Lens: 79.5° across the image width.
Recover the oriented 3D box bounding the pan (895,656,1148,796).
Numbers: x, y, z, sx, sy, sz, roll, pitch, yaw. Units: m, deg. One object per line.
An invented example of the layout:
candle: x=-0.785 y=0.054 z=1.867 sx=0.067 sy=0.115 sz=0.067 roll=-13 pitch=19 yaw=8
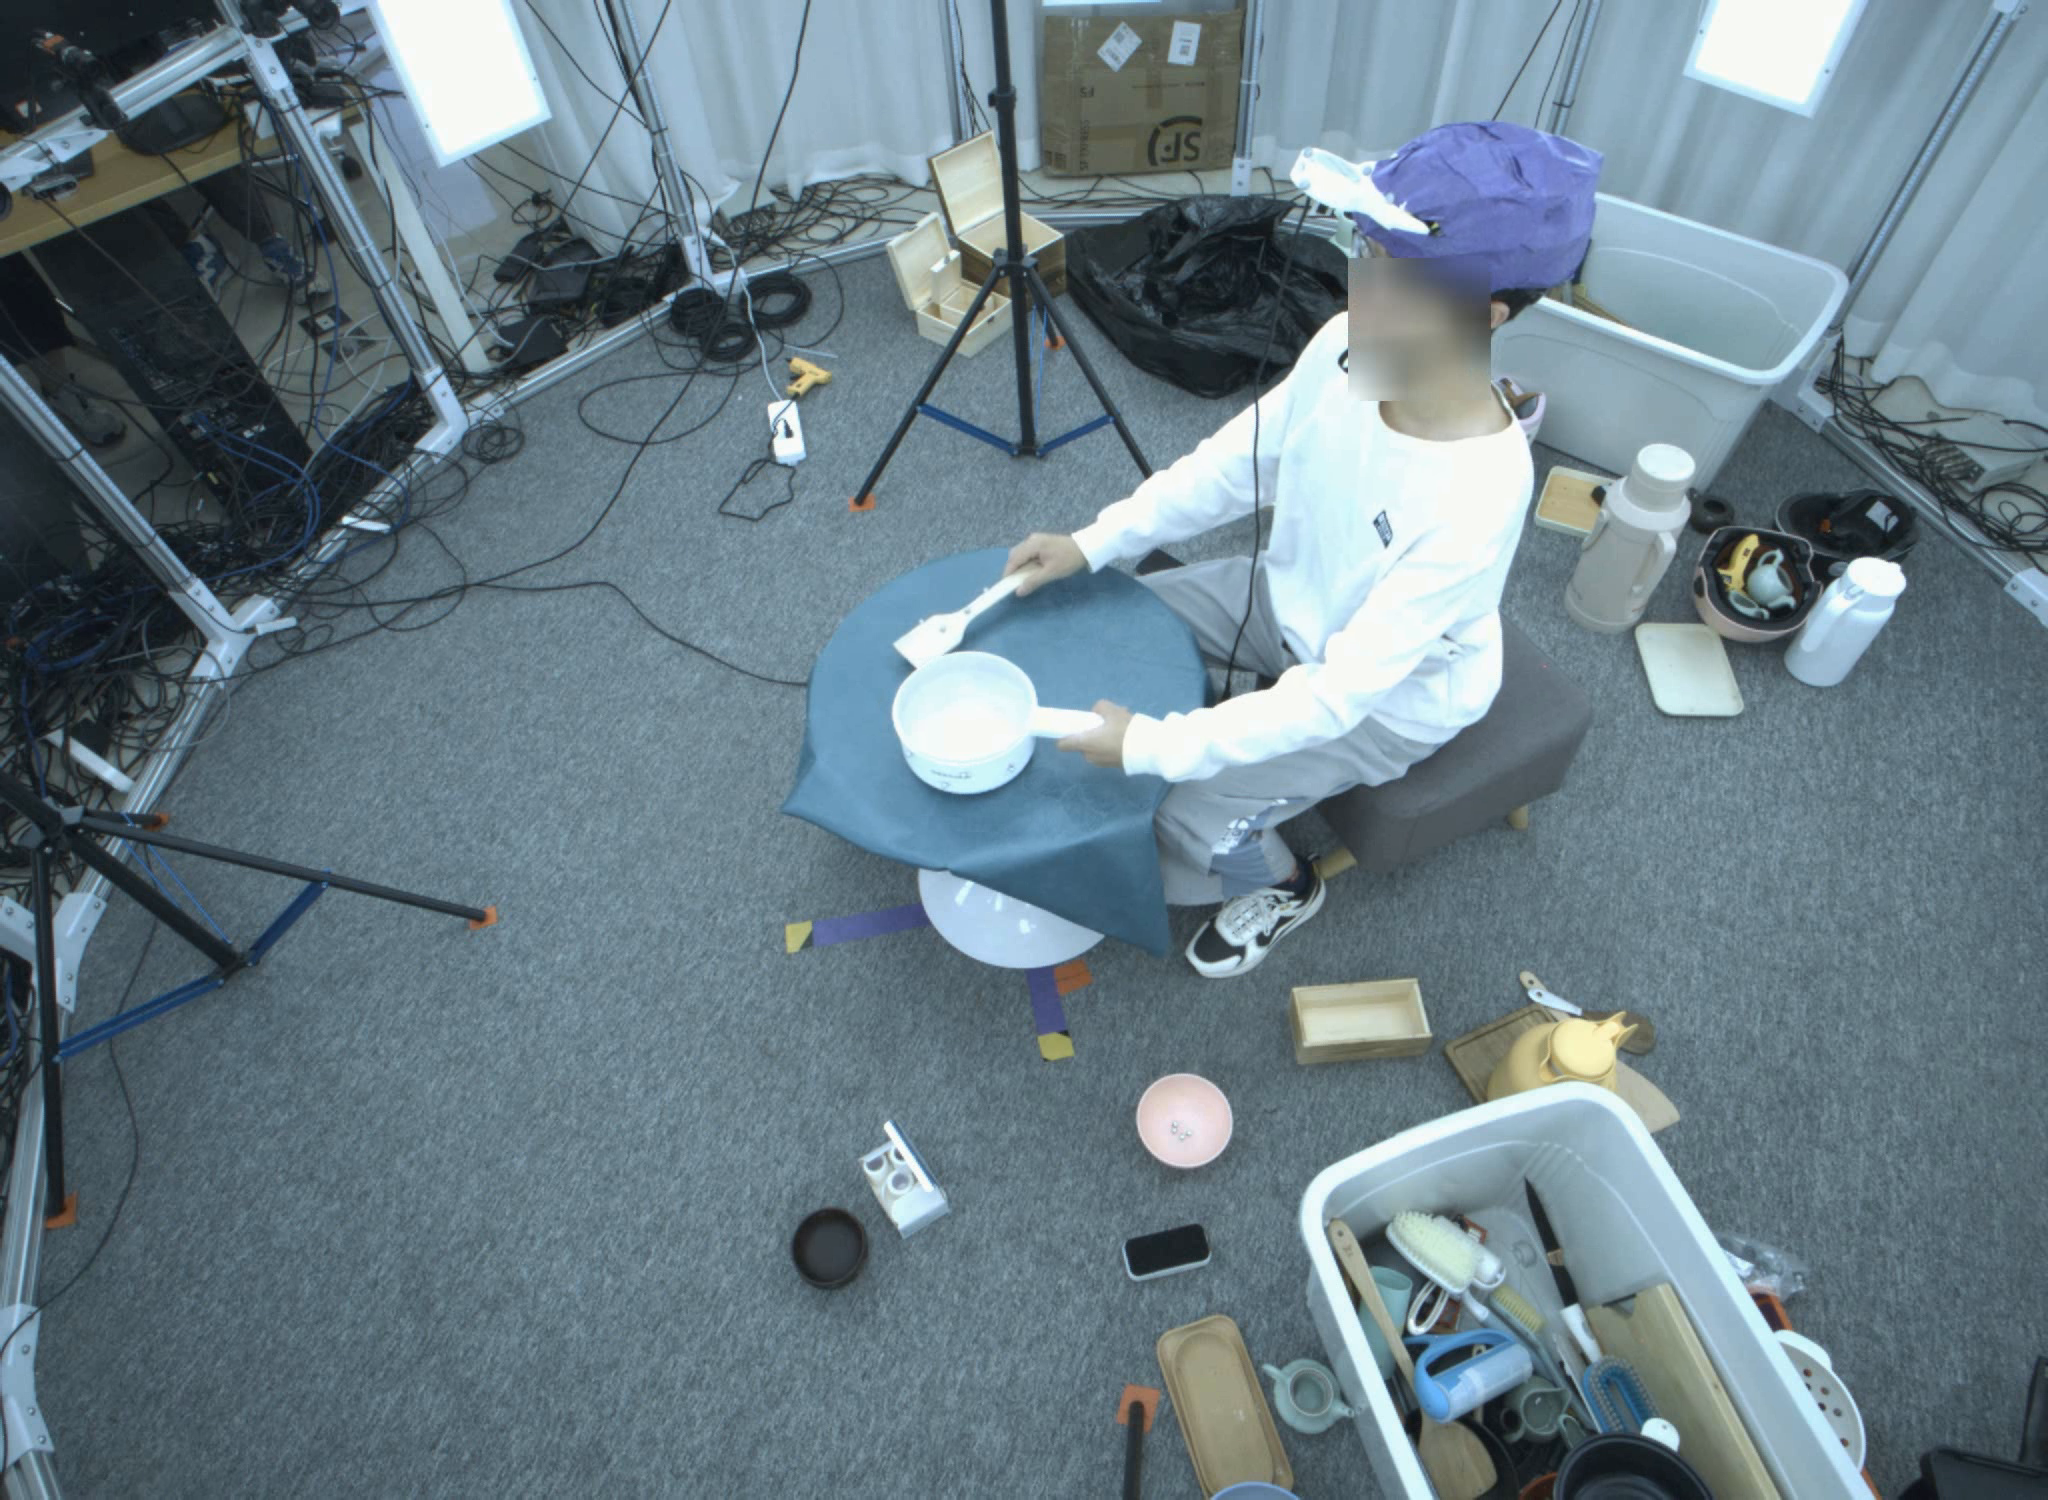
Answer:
pan: x=-0.004 y=-0.019 z=1.745 sx=0.354 sy=0.103 sz=0.200 roll=8 pitch=51 yaw=4

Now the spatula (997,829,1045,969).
spatula: x=0.005 y=0.272 z=2.269 sx=0.072 sy=0.011 sz=0.289 roll=-7 pitch=55 yaw=-5
